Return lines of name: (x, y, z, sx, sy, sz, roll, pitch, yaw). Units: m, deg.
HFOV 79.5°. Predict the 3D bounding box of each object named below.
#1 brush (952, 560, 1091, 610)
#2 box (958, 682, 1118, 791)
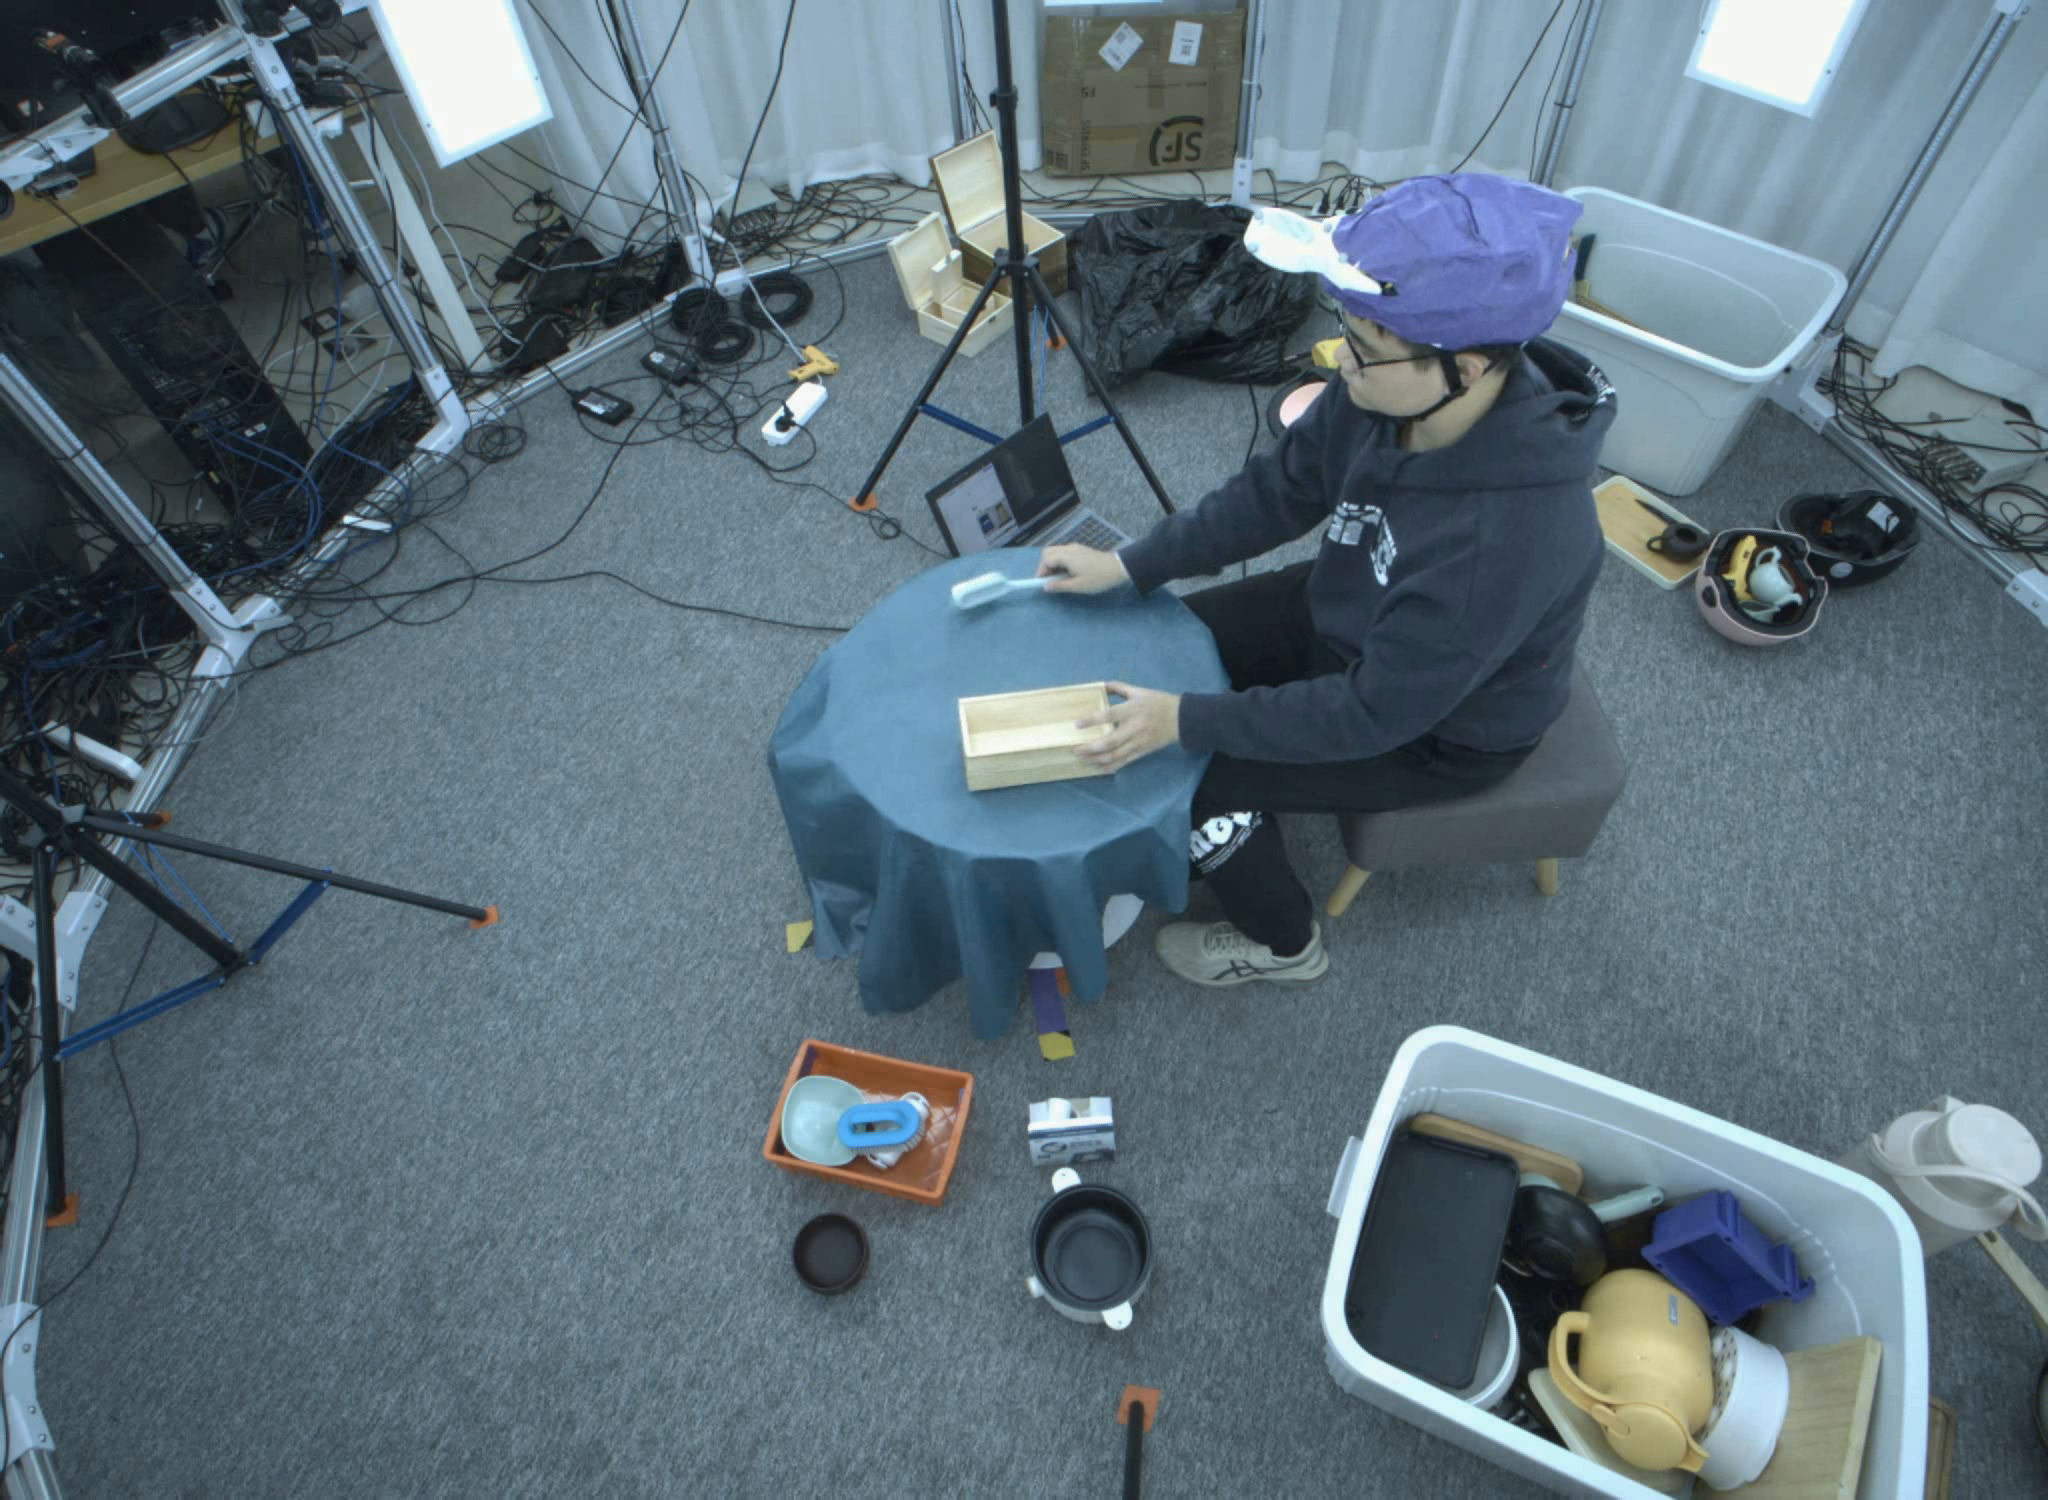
brush: (-0.004, -0.269, 1.943, 0.230, 0.038, 0.048, -16, 34, -12)
box: (0.018, -0.020, 1.746, 0.212, 0.081, 0.106, -8, 55, -6)
